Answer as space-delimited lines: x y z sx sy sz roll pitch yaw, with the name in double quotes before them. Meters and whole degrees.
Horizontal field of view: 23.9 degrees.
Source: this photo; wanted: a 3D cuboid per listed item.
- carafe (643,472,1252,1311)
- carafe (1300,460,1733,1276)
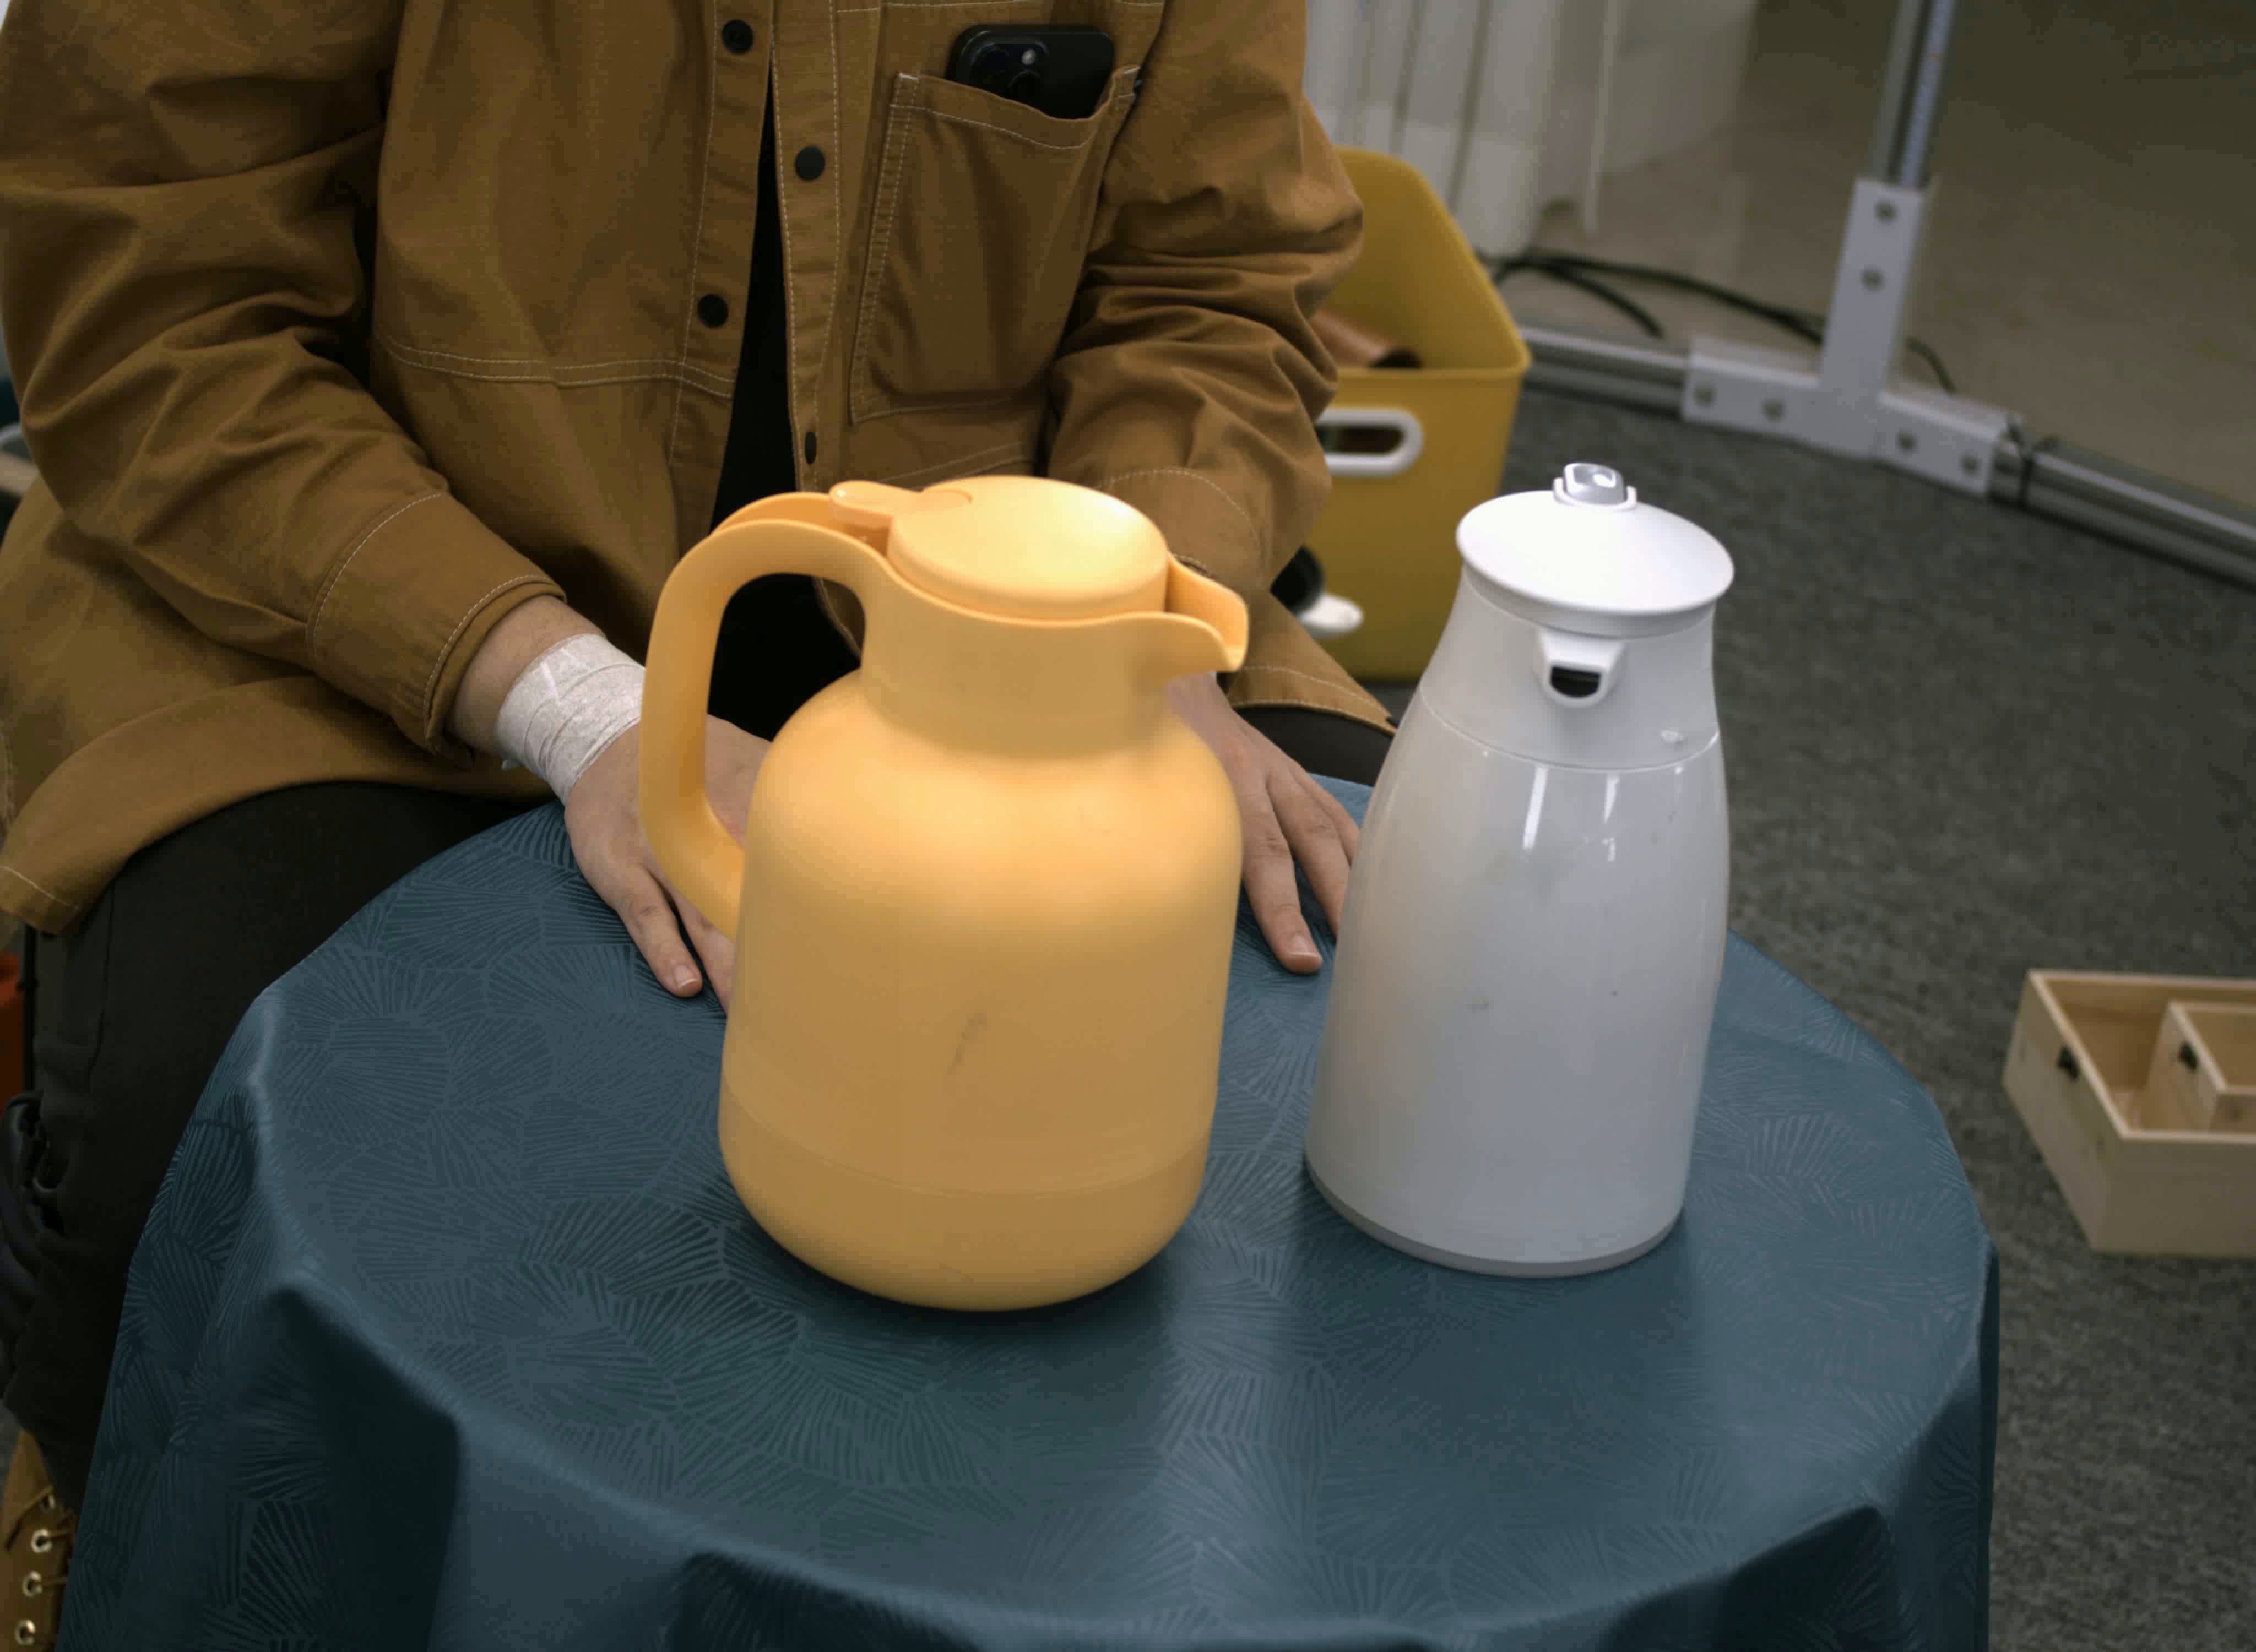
"carafe" -0.063 0.011 1.728 0.203 0.260 0.163 17 26 16
"carafe" 0.139 0.003 1.800 0.132 0.248 0.168 9 26 4
